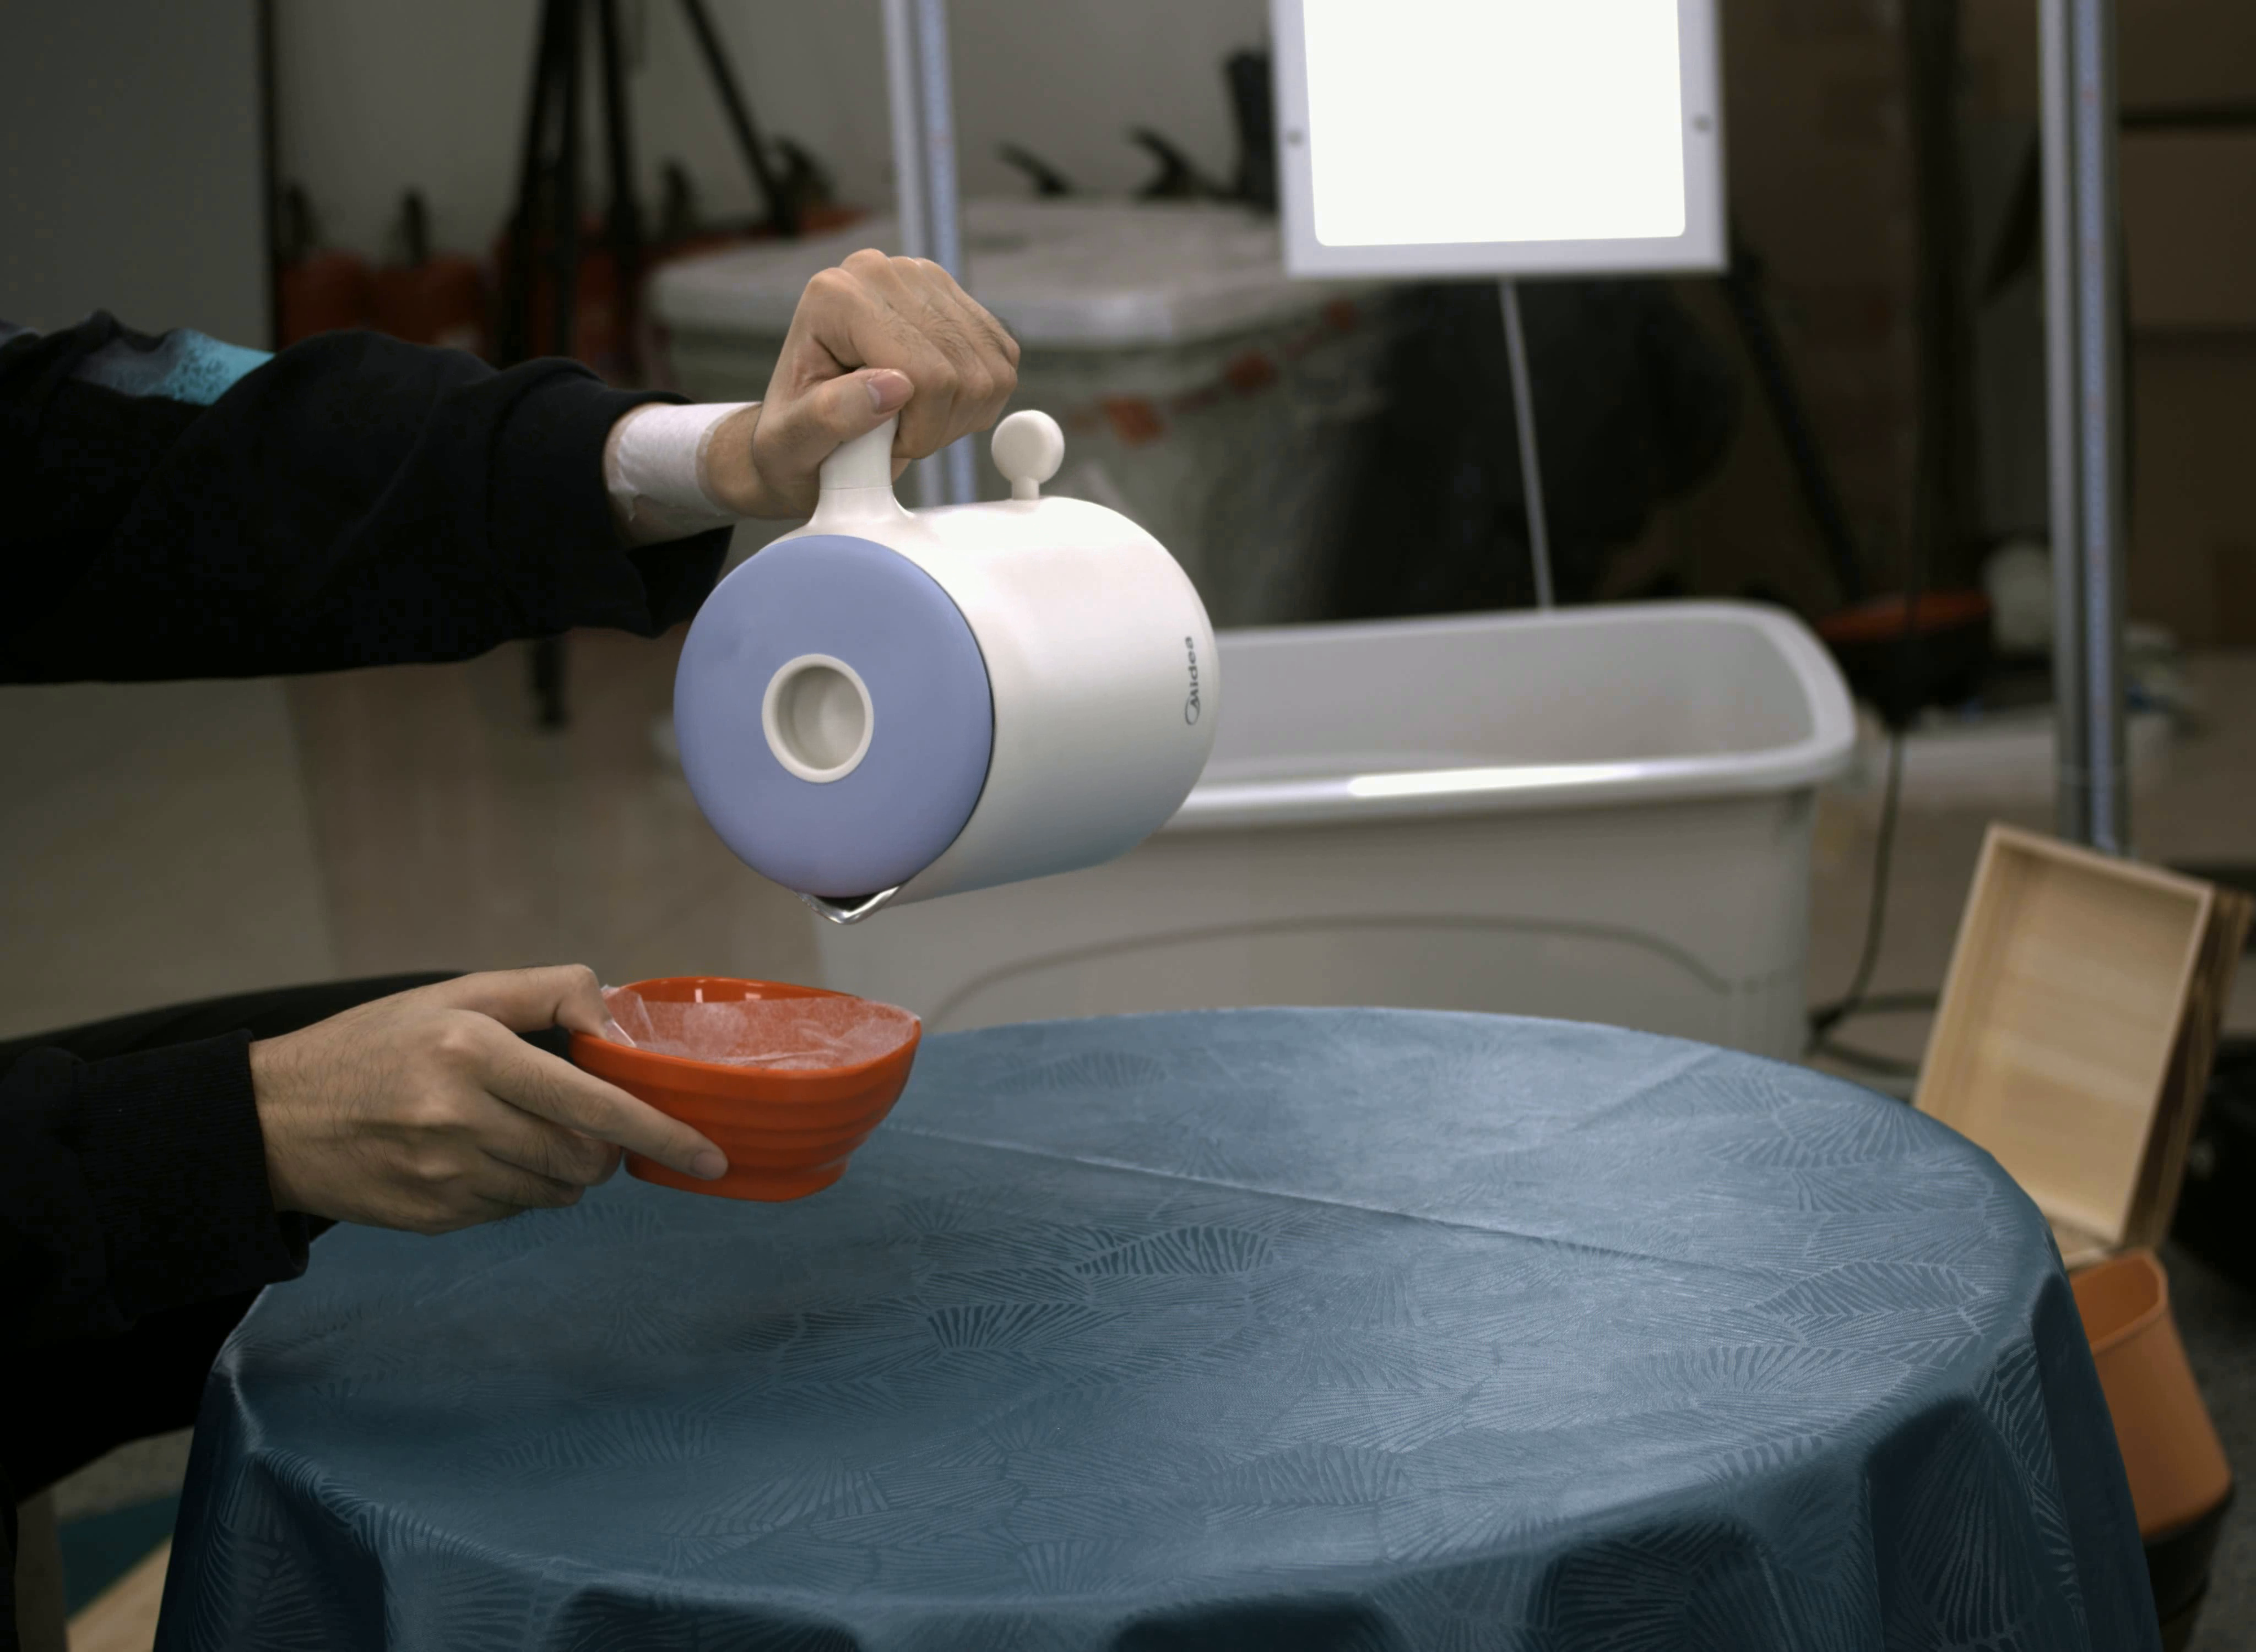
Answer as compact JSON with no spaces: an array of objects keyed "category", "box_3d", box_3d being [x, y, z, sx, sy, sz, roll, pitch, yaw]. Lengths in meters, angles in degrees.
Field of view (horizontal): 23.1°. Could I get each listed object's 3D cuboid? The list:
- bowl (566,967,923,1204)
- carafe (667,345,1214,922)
[{"category":"bowl","box_3d":[-0.125,0.086,1.785,0.118,0.051,0.119,4,15,-3]},{"category":"carafe","box_3d":[-0.064,-0.068,1.854,0.134,0.191,0.179,-4,1,27]}]
